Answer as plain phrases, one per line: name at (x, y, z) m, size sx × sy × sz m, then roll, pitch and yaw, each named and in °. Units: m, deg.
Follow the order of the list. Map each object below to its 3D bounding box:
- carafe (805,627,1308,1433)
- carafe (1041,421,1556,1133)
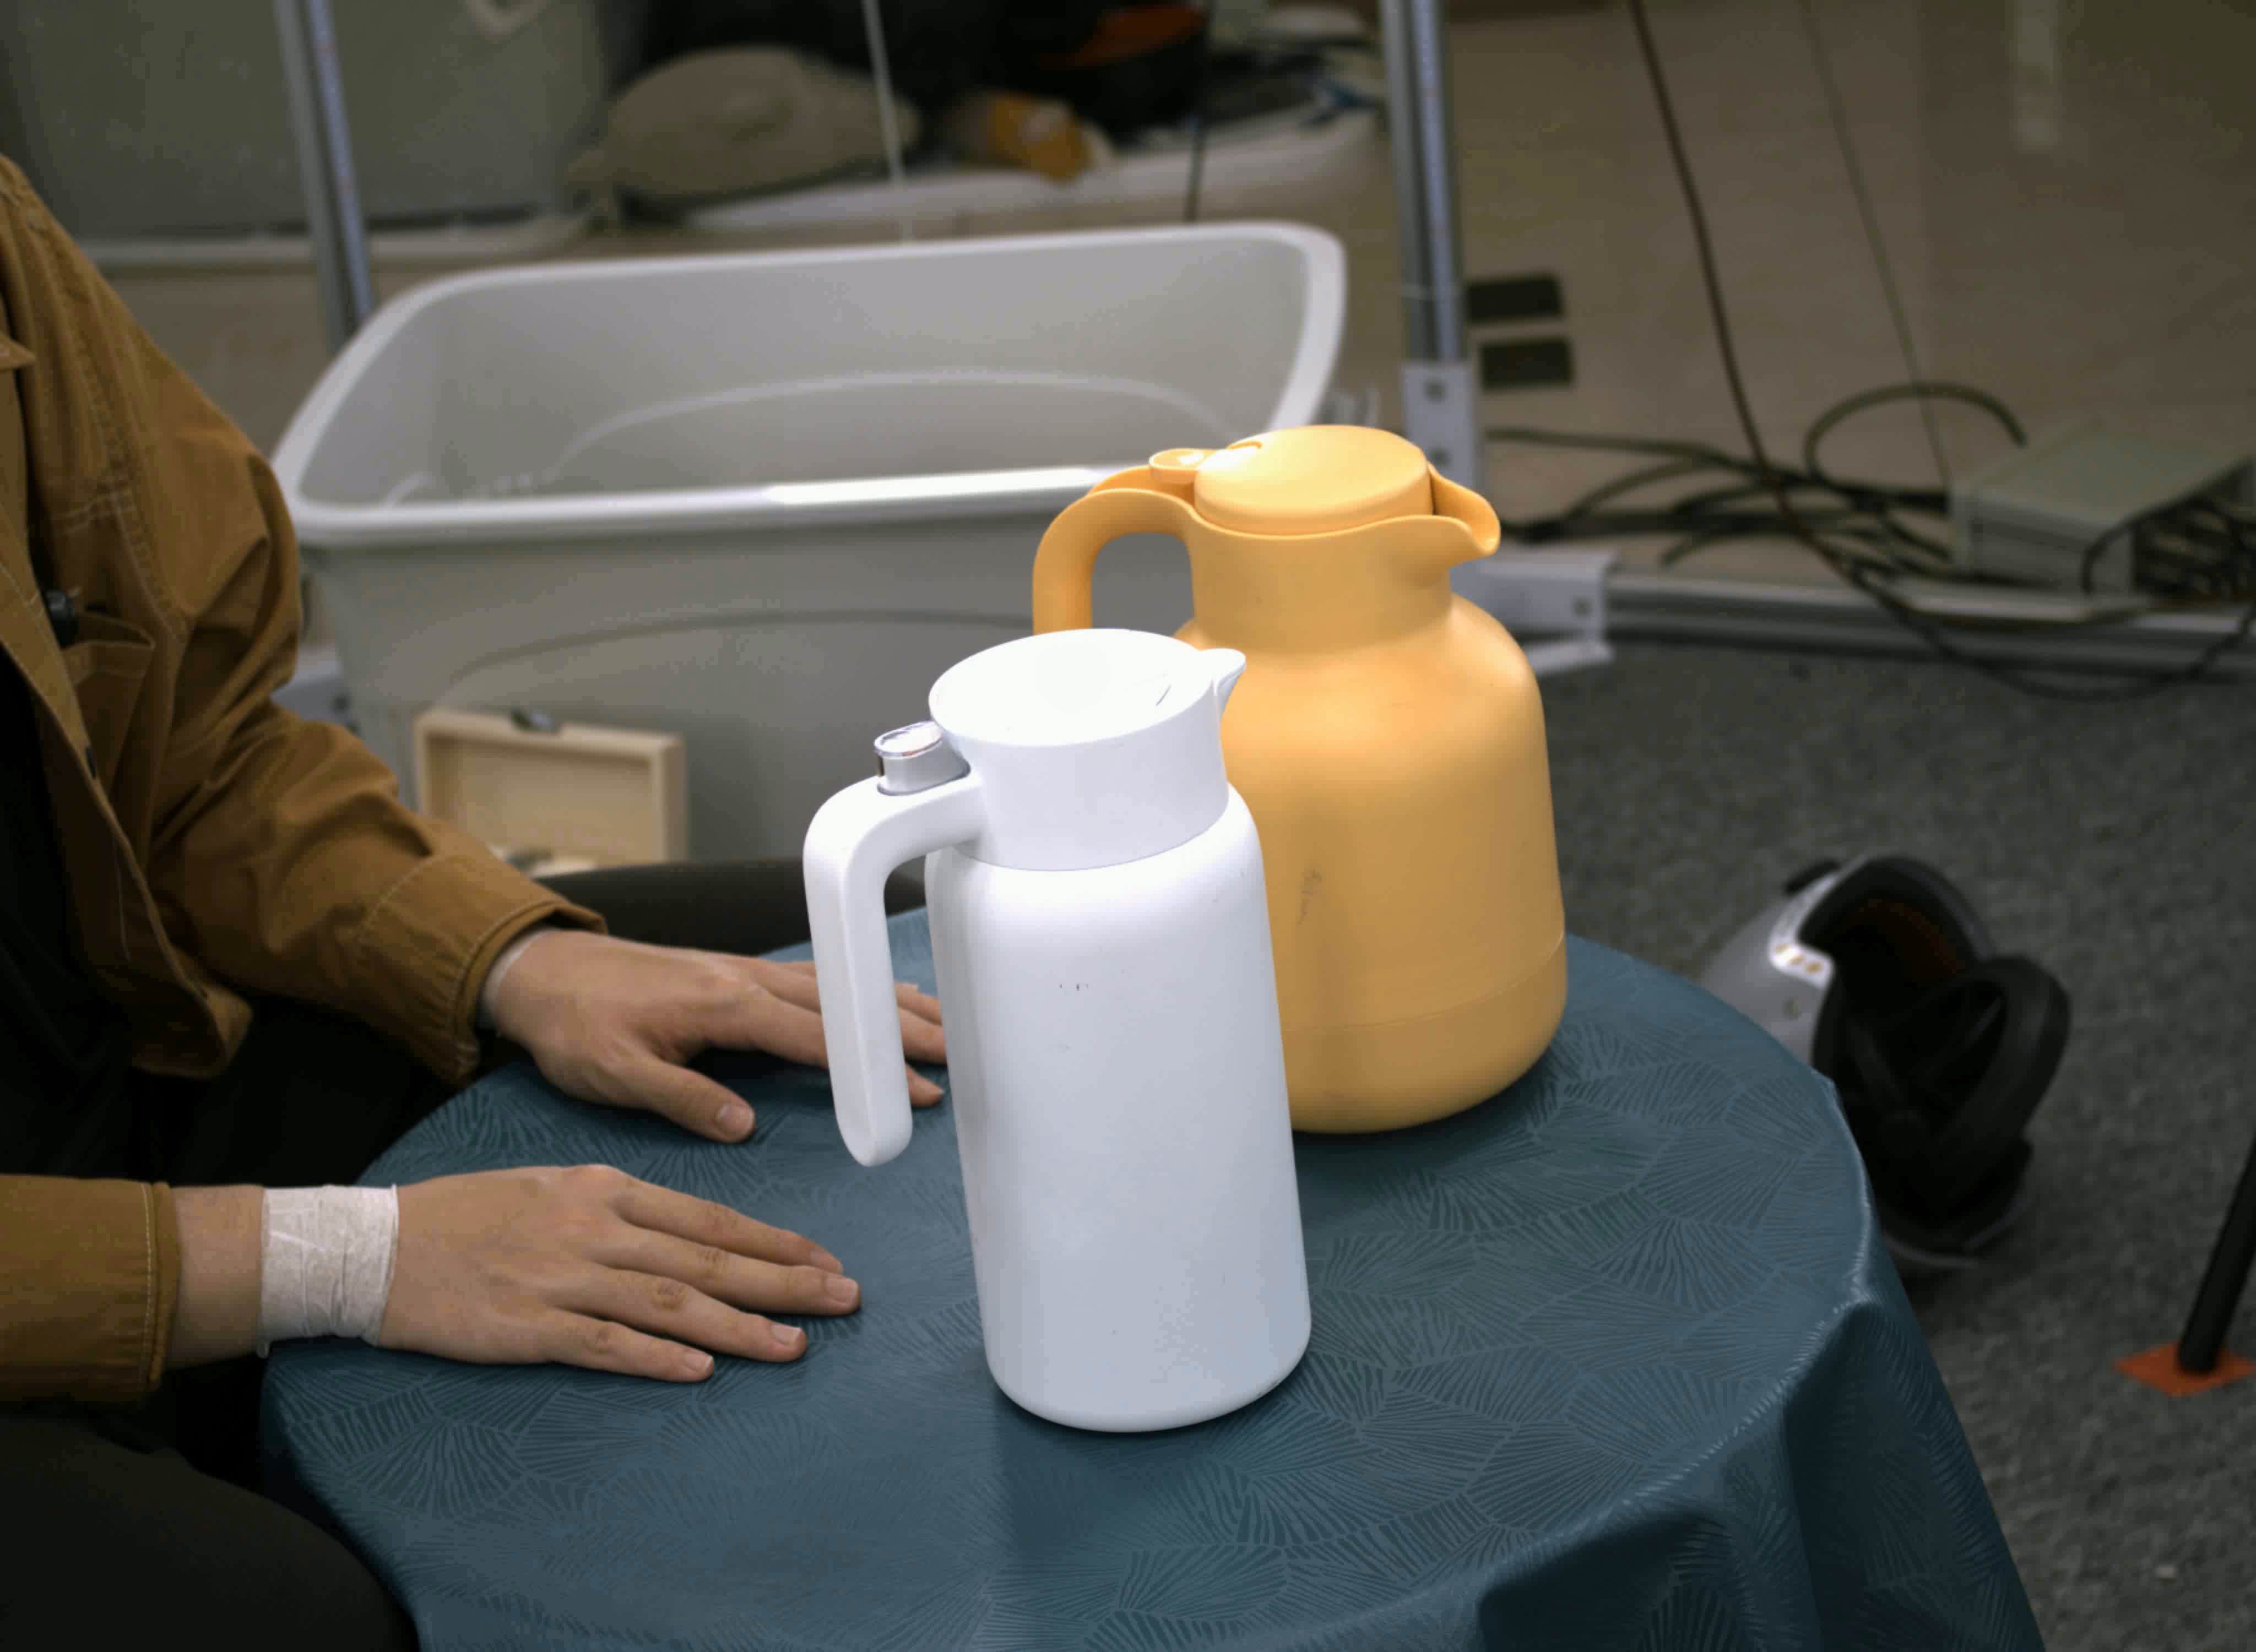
carafe at (-0.020, 0.077, 1.967) m, size 0.172 × 0.273 × 0.122 m, roll -20°, pitch 31°, yaw -26°
carafe at (0.063, -0.026, 2.172) m, size 0.201 × 0.264 × 0.161 m, roll 11°, pitch 28°, yaw 28°
